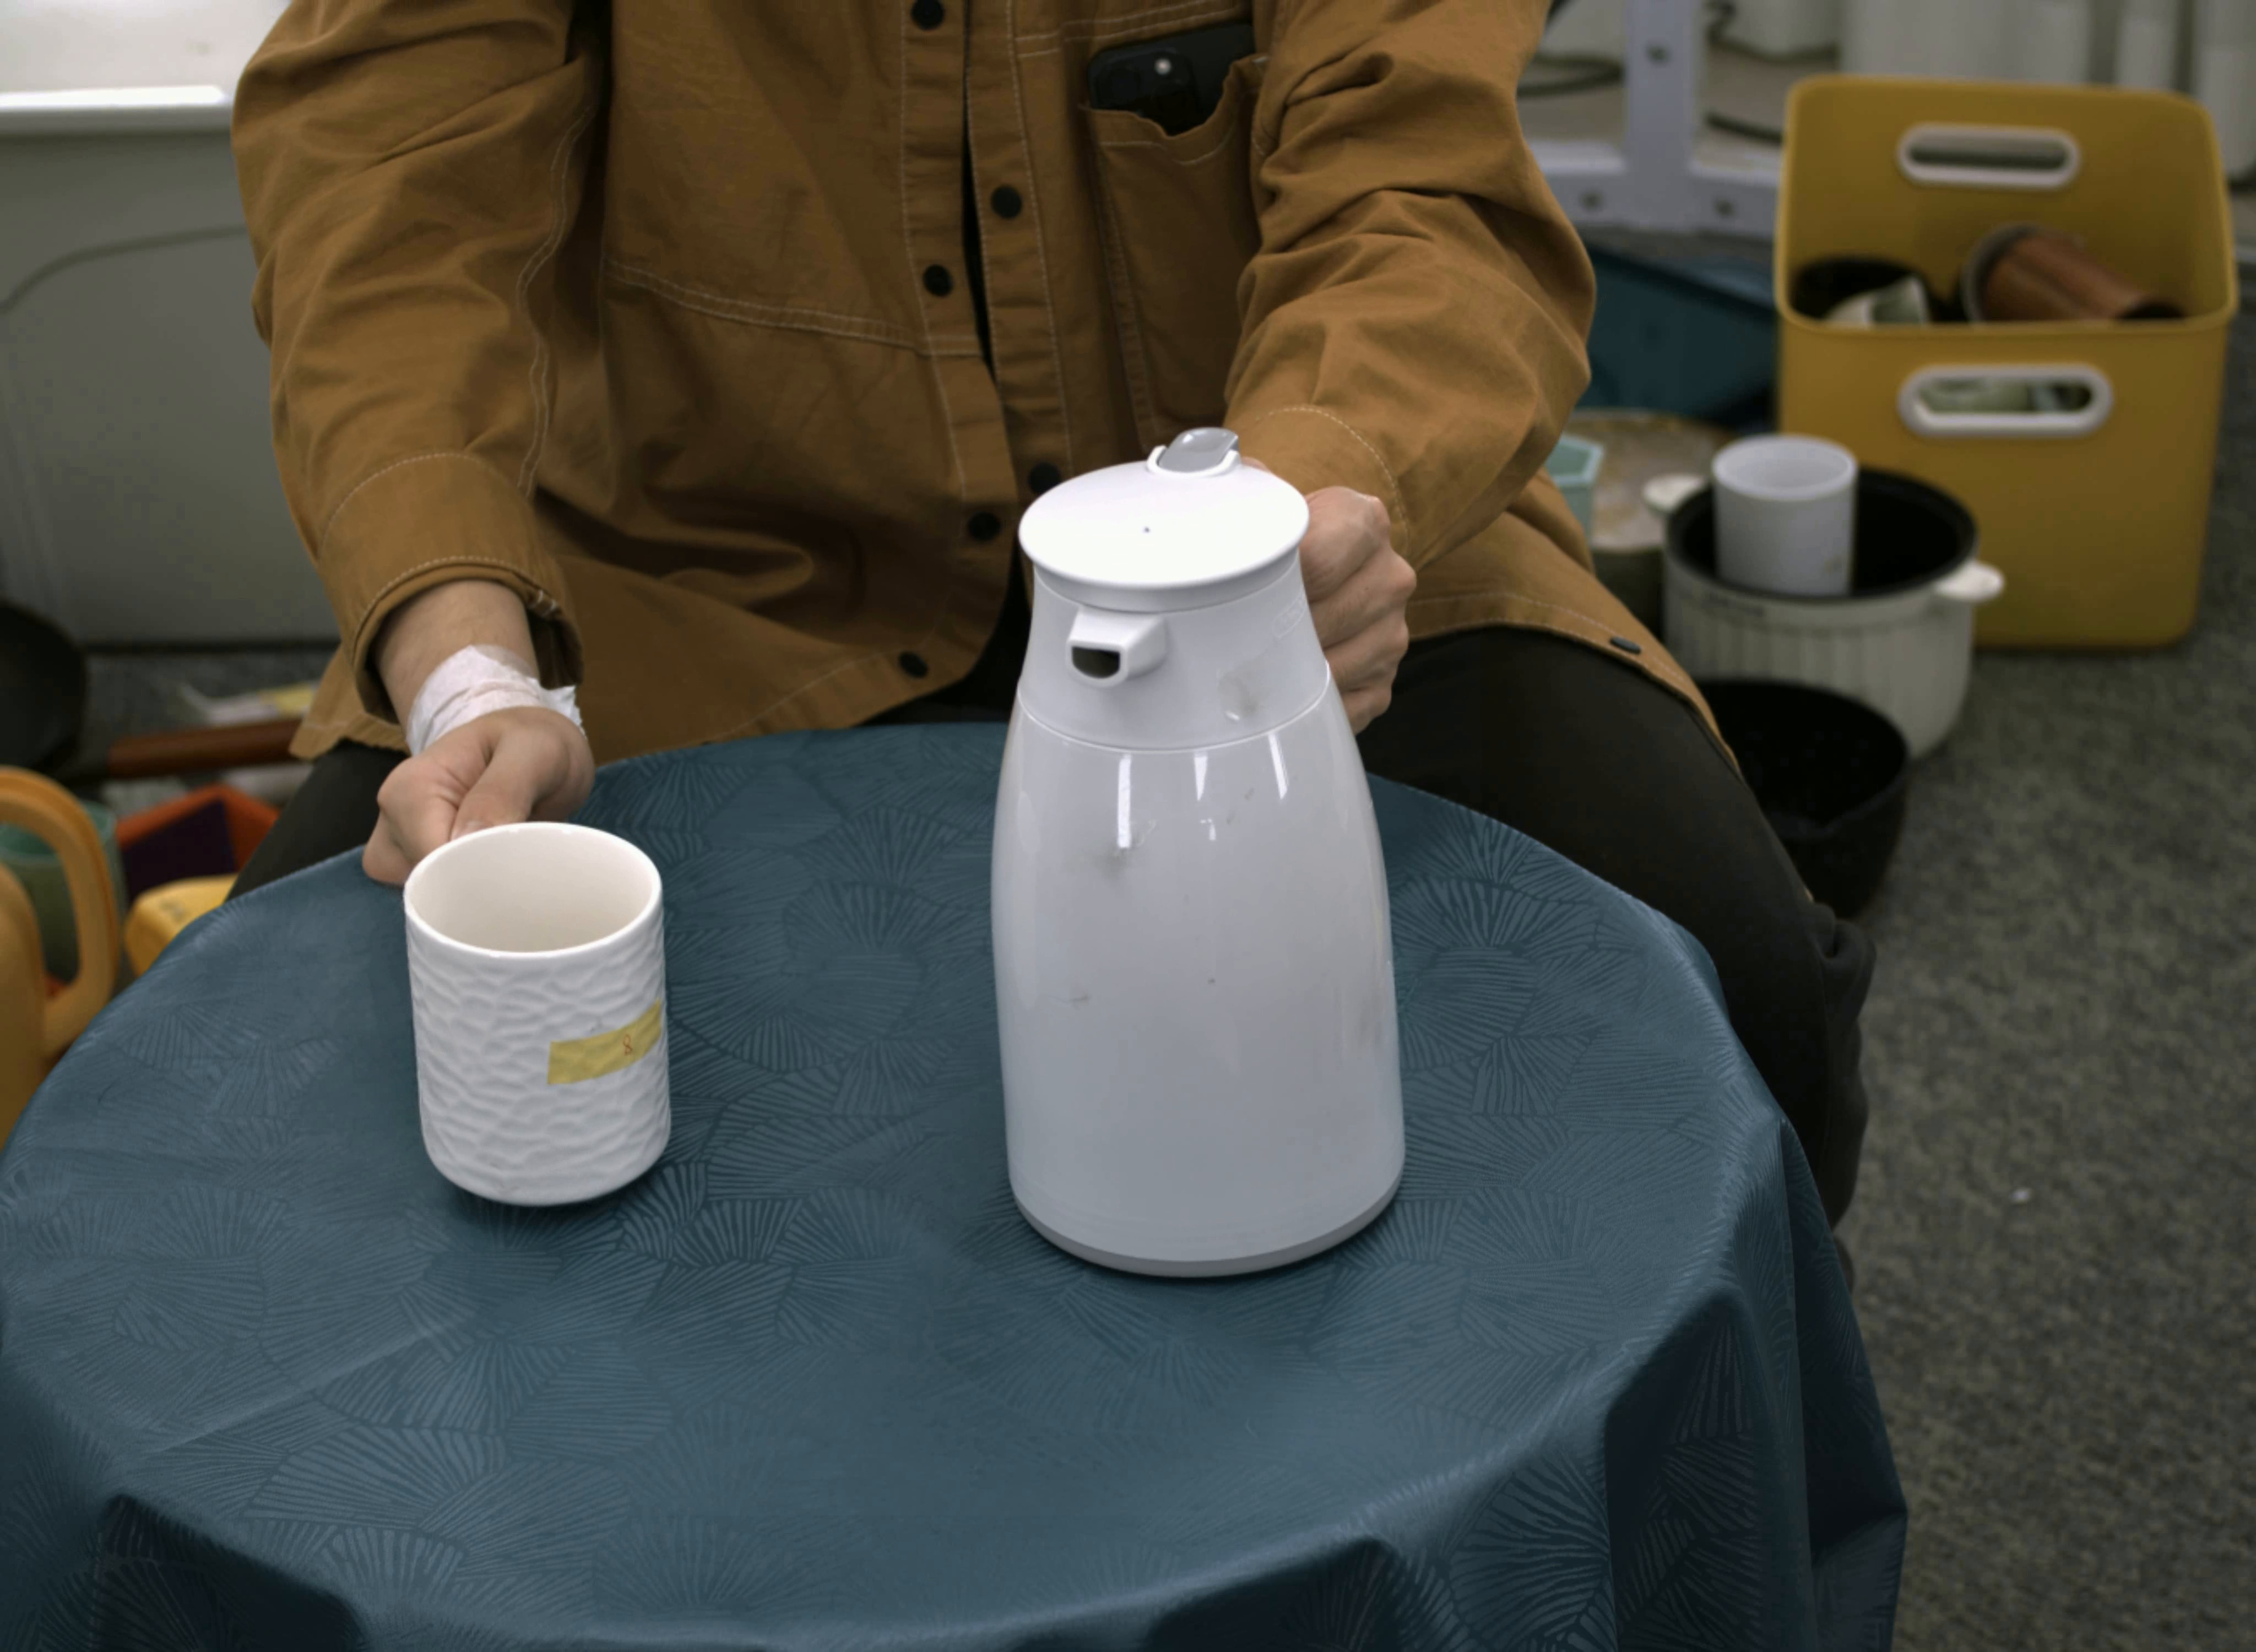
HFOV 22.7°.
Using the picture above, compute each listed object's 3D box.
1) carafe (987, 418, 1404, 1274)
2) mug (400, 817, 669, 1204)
[{"bbox_3d":[0.022,-0.004,1.824,0.131,0.246,0.170,5,27,19],"label":"carafe"},{"bbox_3d":[-0.201,0.055,1.875,0.085,0.101,0.119,-11,31,-19],"label":"mug"}]
